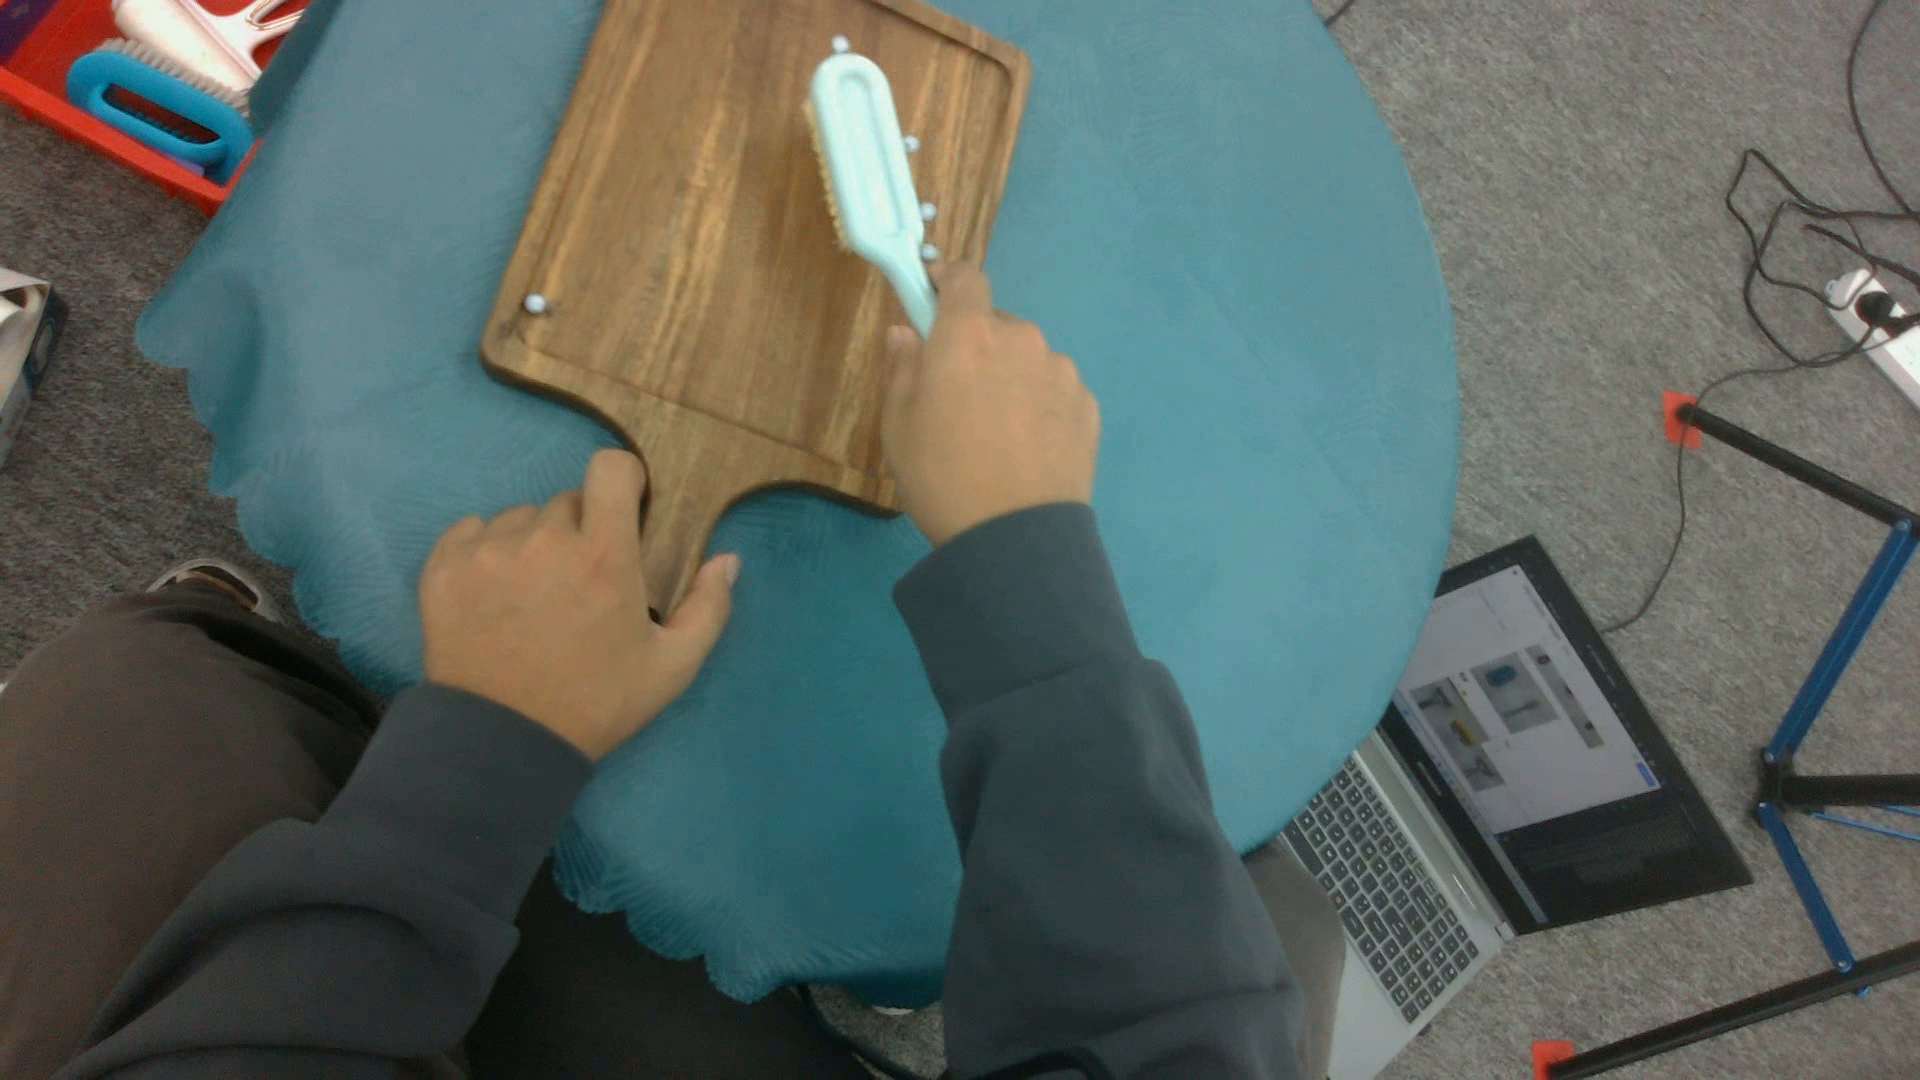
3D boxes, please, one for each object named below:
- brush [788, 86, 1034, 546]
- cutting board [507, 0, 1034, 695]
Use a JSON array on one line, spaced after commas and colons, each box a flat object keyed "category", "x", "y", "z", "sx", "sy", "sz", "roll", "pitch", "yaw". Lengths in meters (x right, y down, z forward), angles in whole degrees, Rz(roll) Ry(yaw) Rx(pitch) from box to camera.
[{"category": "brush", "x": -0.022, "y": -0.098, "z": 0.606, "sx": 0.038, "sy": 0.049, "sz": 0.229, "roll": -19, "pitch": 72, "yaw": -21}, {"category": "cutting board", "x": -0.091, "y": -0.100, "z": 0.639, "sx": 0.201, "sy": 0.023, "sz": 0.353, "roll": 18, "pitch": 73, "yaw": -15}]
